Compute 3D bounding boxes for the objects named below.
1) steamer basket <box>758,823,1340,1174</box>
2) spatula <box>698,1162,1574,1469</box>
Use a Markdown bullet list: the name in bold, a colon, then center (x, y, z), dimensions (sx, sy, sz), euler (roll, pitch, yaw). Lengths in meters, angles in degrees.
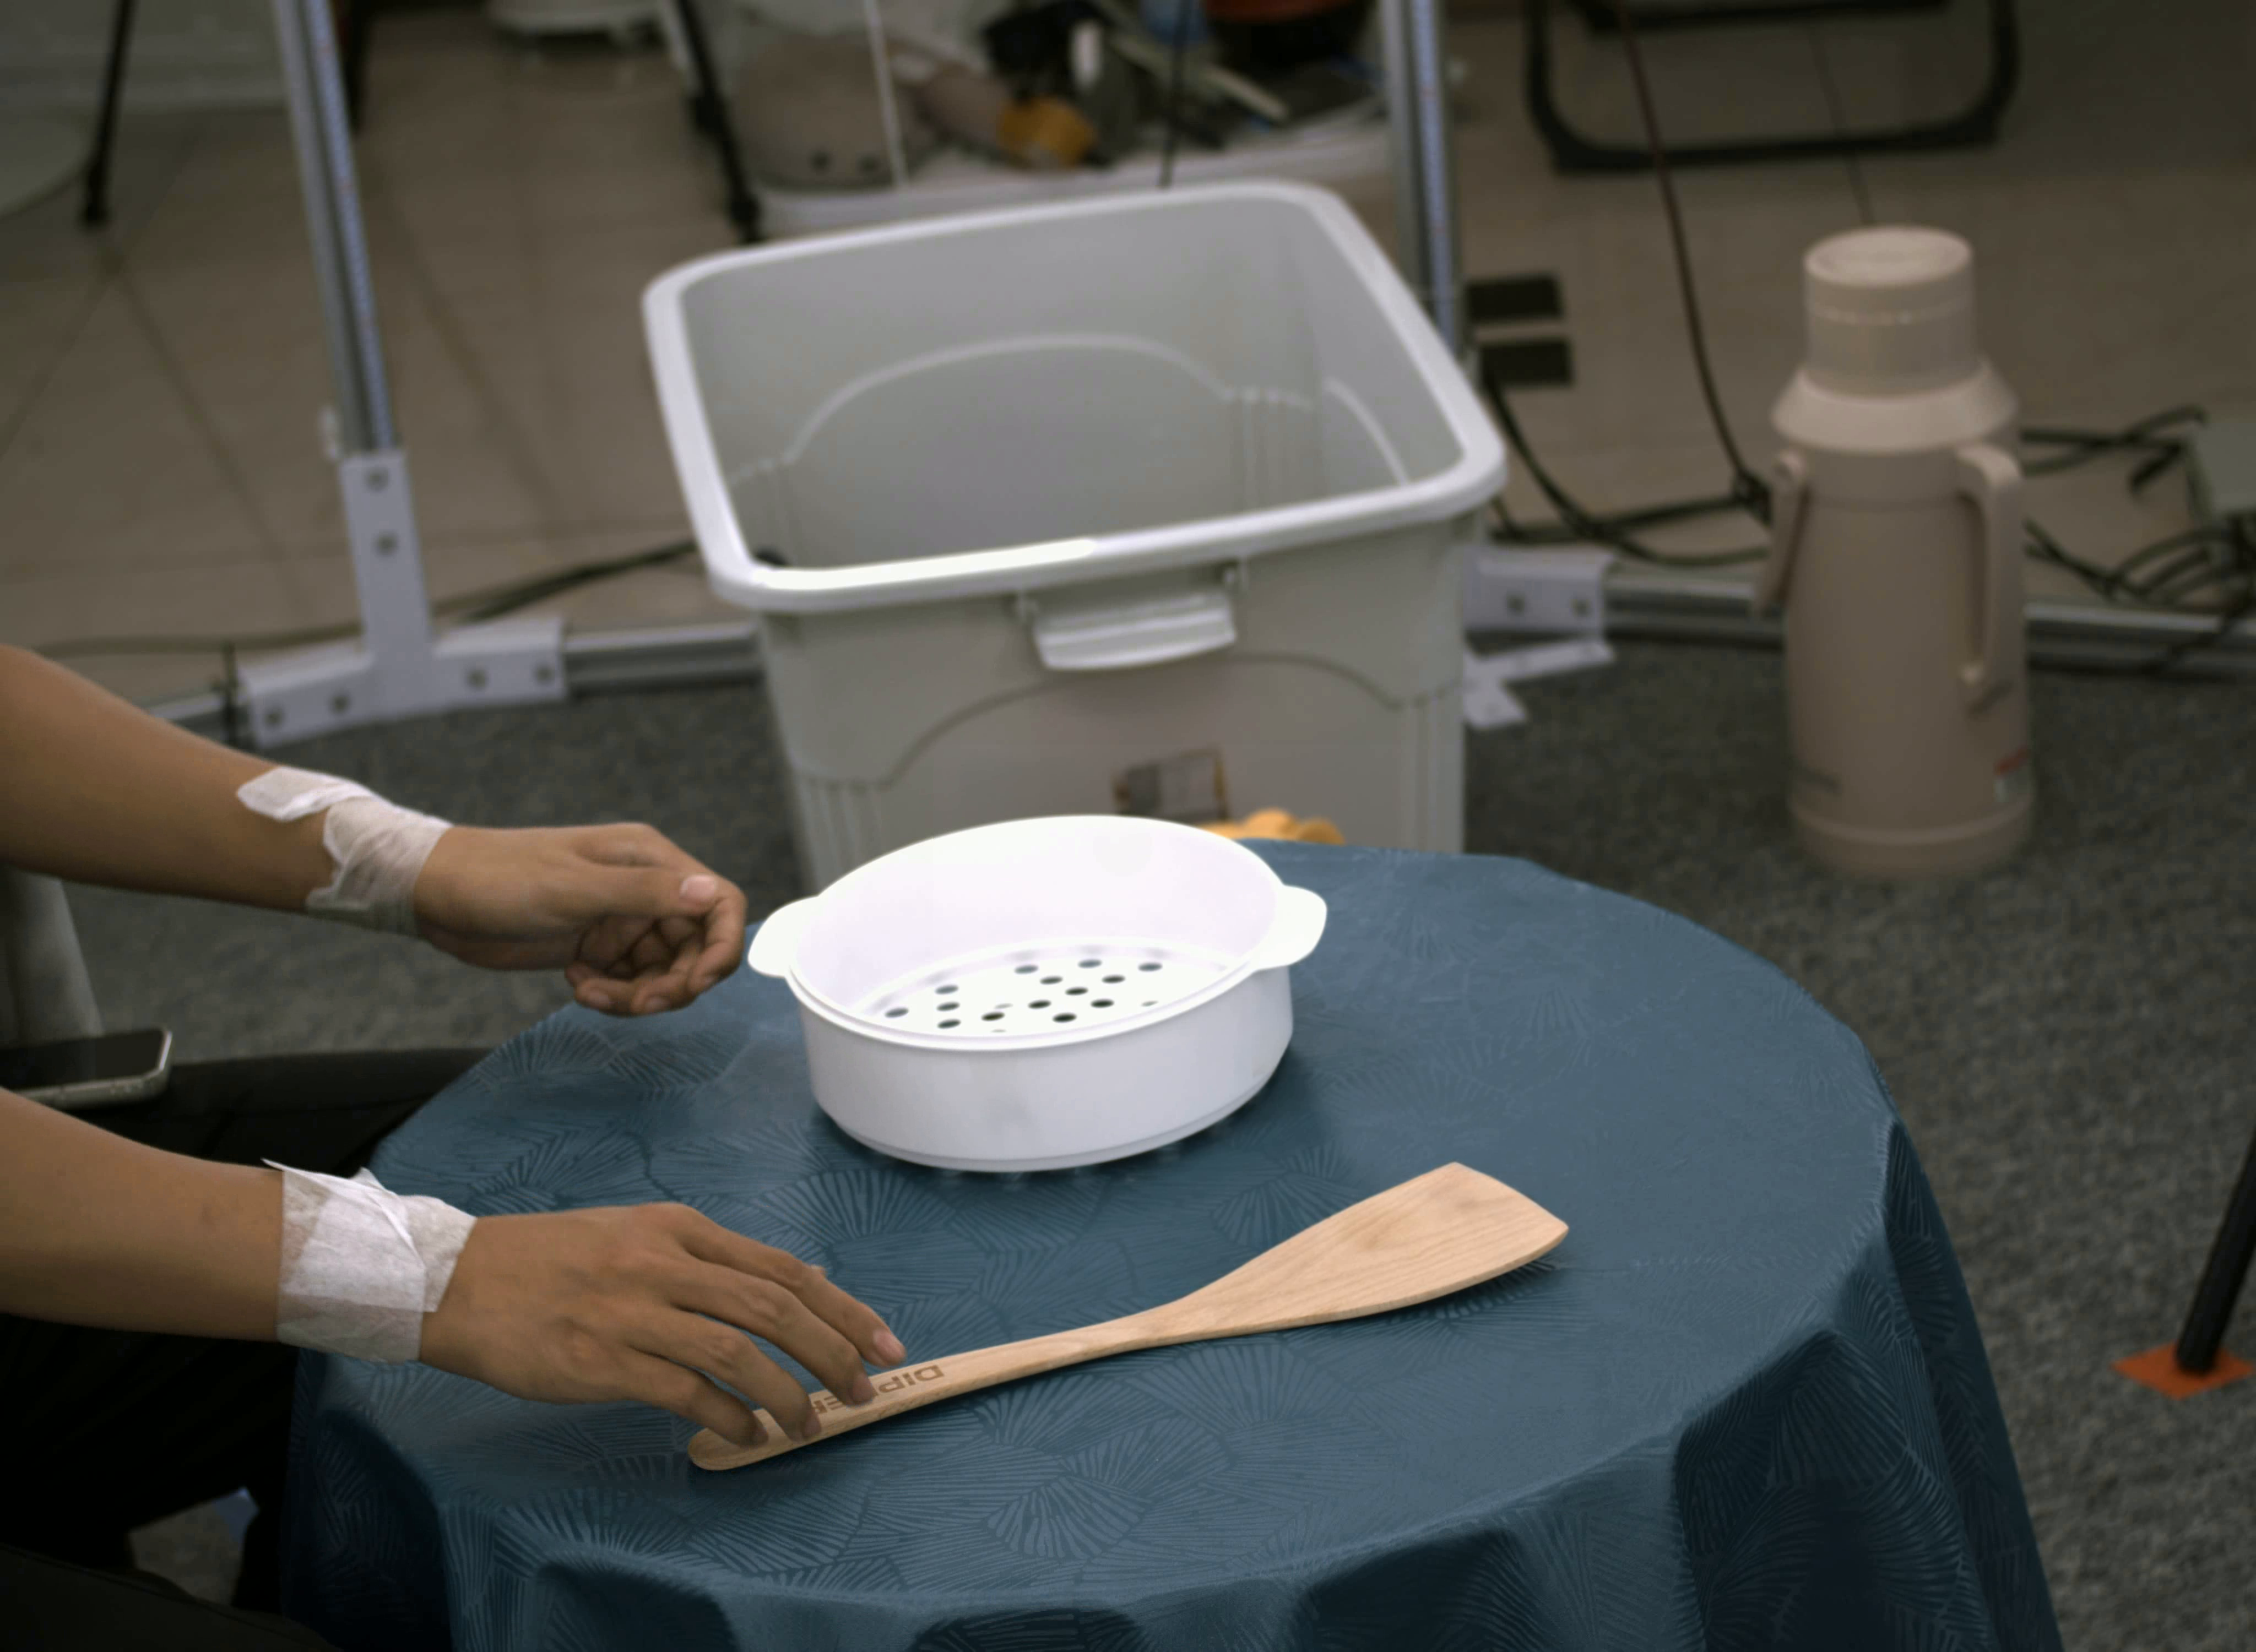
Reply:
- **steamer basket**: center (-0.028, 0.068, 2.233), dimensions (0.230, 0.070, 0.199), euler (-2, 24, 12)
- **spatula**: center (0.000, 0.178, 2.046), dimensions (0.326, 0.017, 0.079), euler (-15, 25, -16)
